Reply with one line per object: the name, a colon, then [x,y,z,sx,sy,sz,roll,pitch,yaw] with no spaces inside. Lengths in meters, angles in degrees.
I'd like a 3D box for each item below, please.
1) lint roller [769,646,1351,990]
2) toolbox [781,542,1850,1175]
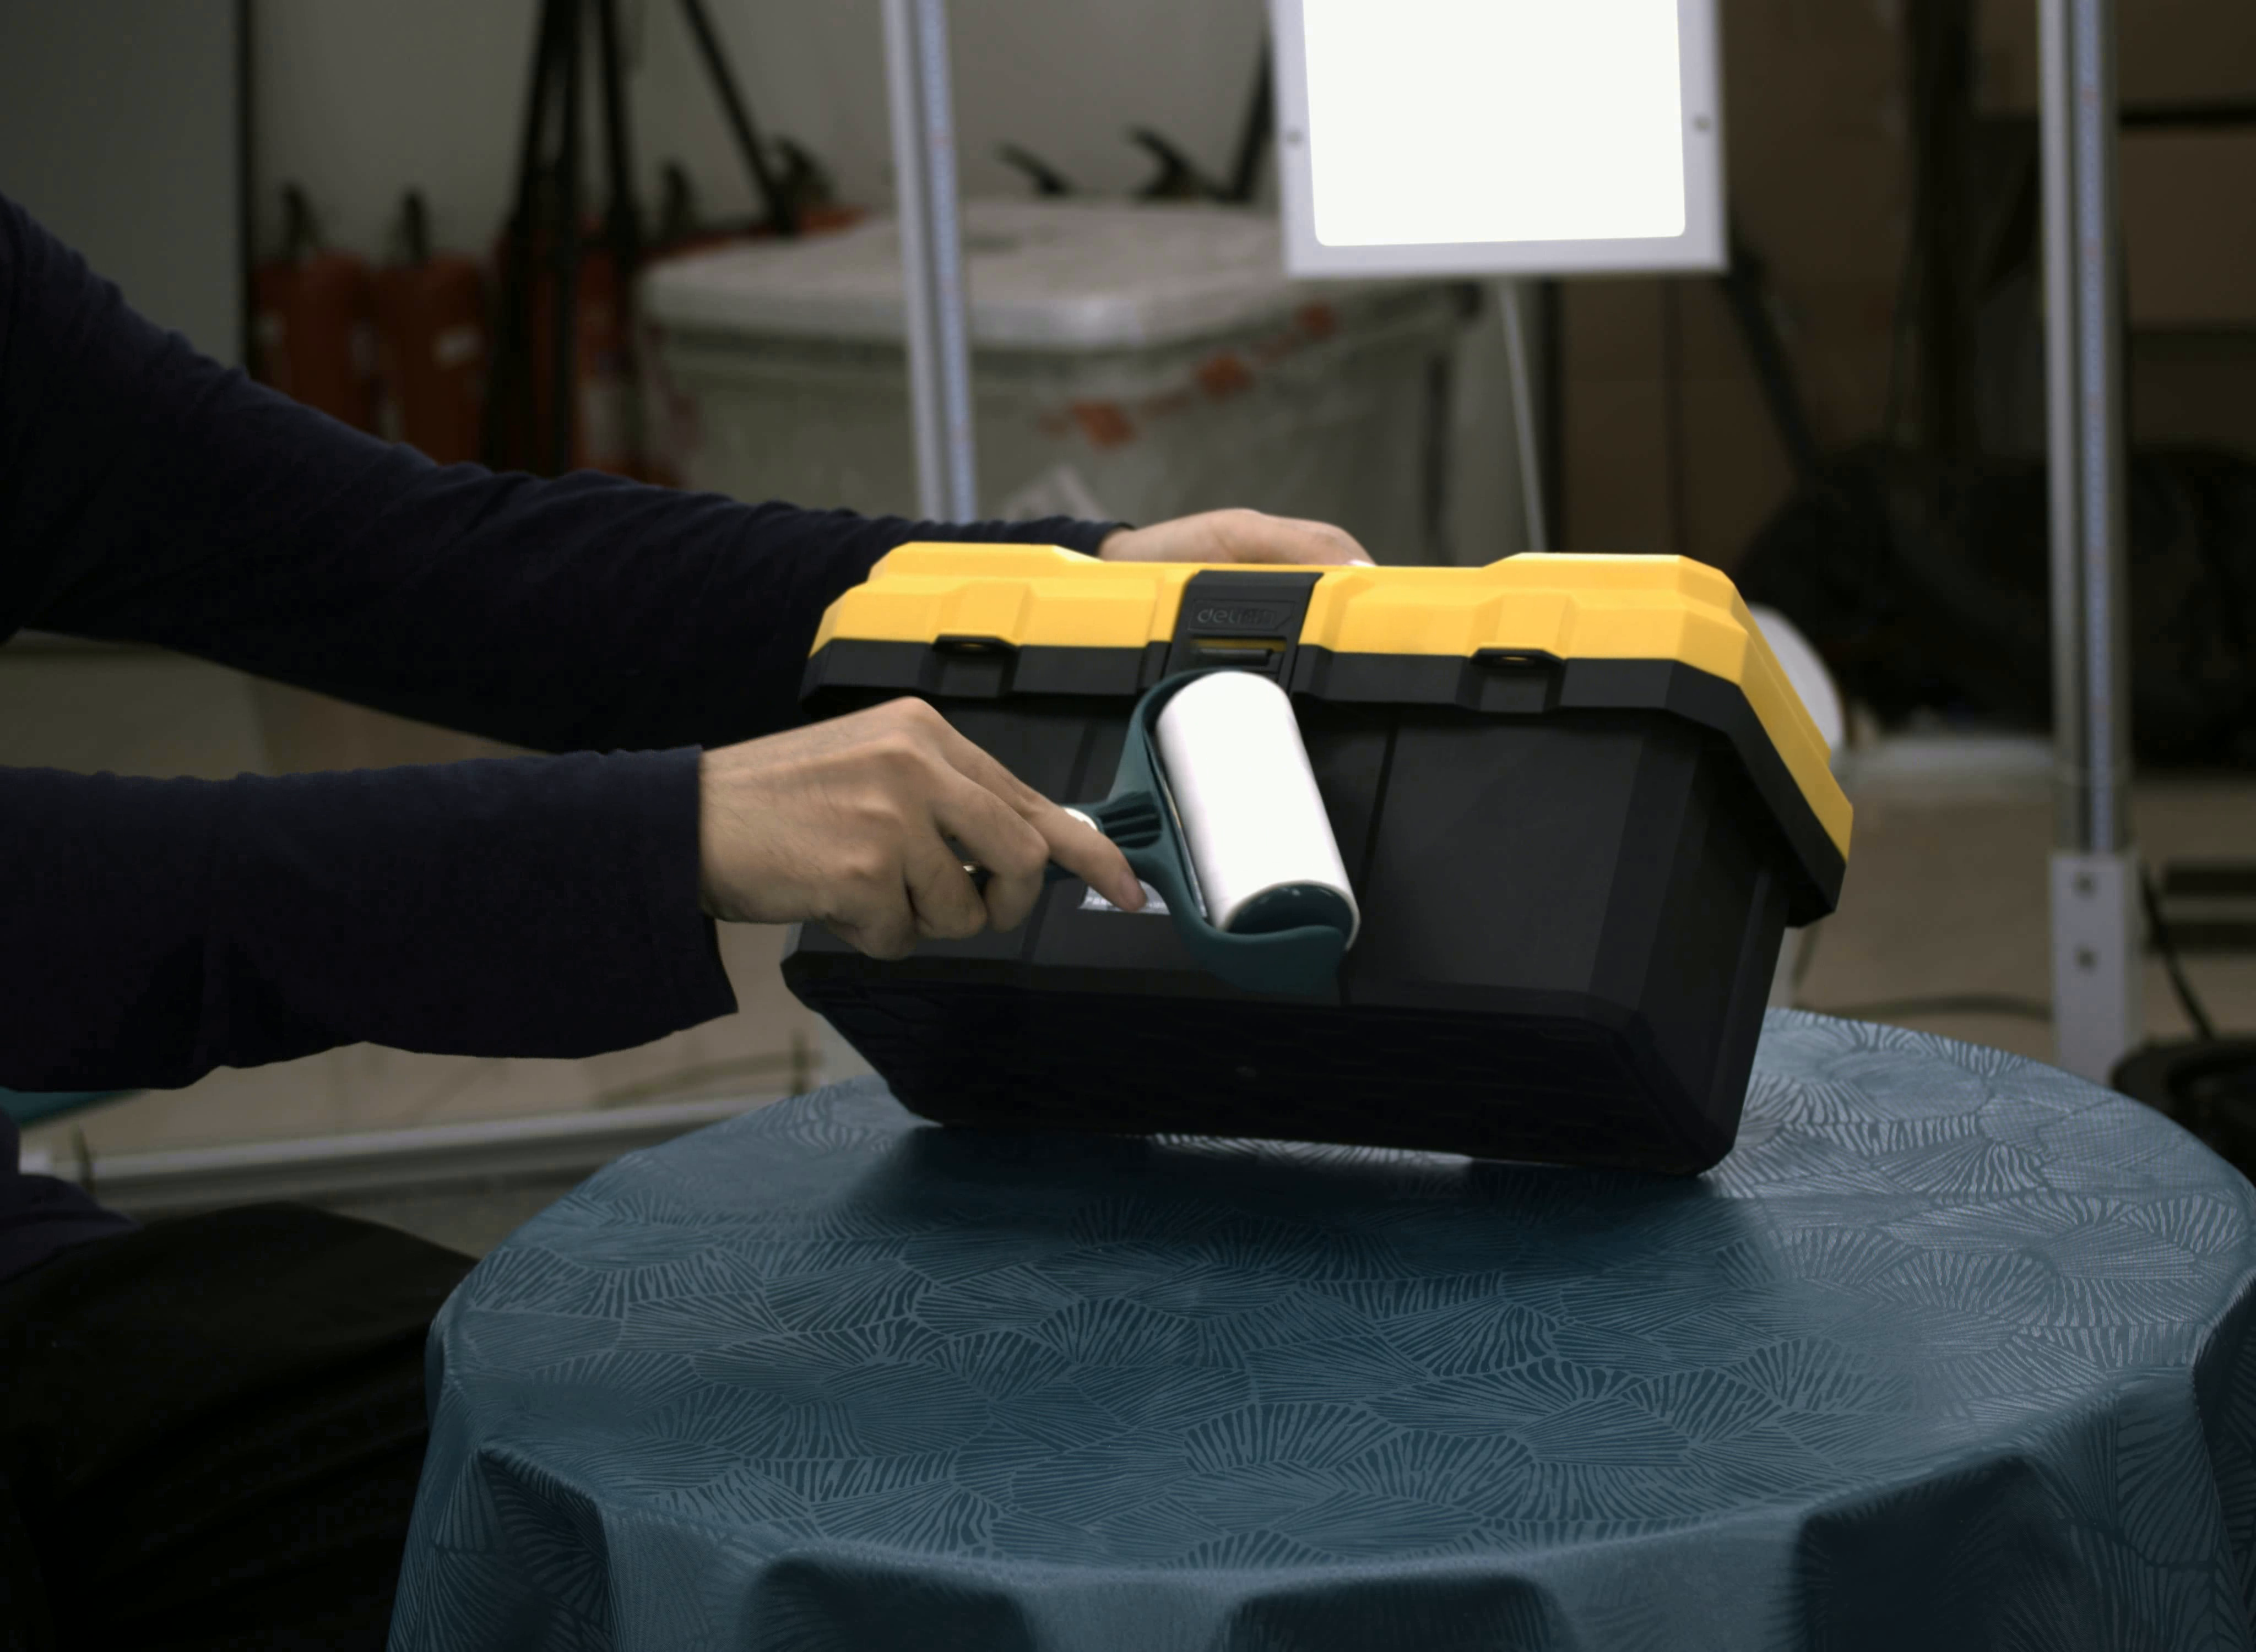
lint roller: [-0.025,0.000,1.775,0.178,0.049,0.135,-3,44,-12]
toolbox: [0.059,0.009,1.915,0.357,0.172,0.179,2,-26,28]
